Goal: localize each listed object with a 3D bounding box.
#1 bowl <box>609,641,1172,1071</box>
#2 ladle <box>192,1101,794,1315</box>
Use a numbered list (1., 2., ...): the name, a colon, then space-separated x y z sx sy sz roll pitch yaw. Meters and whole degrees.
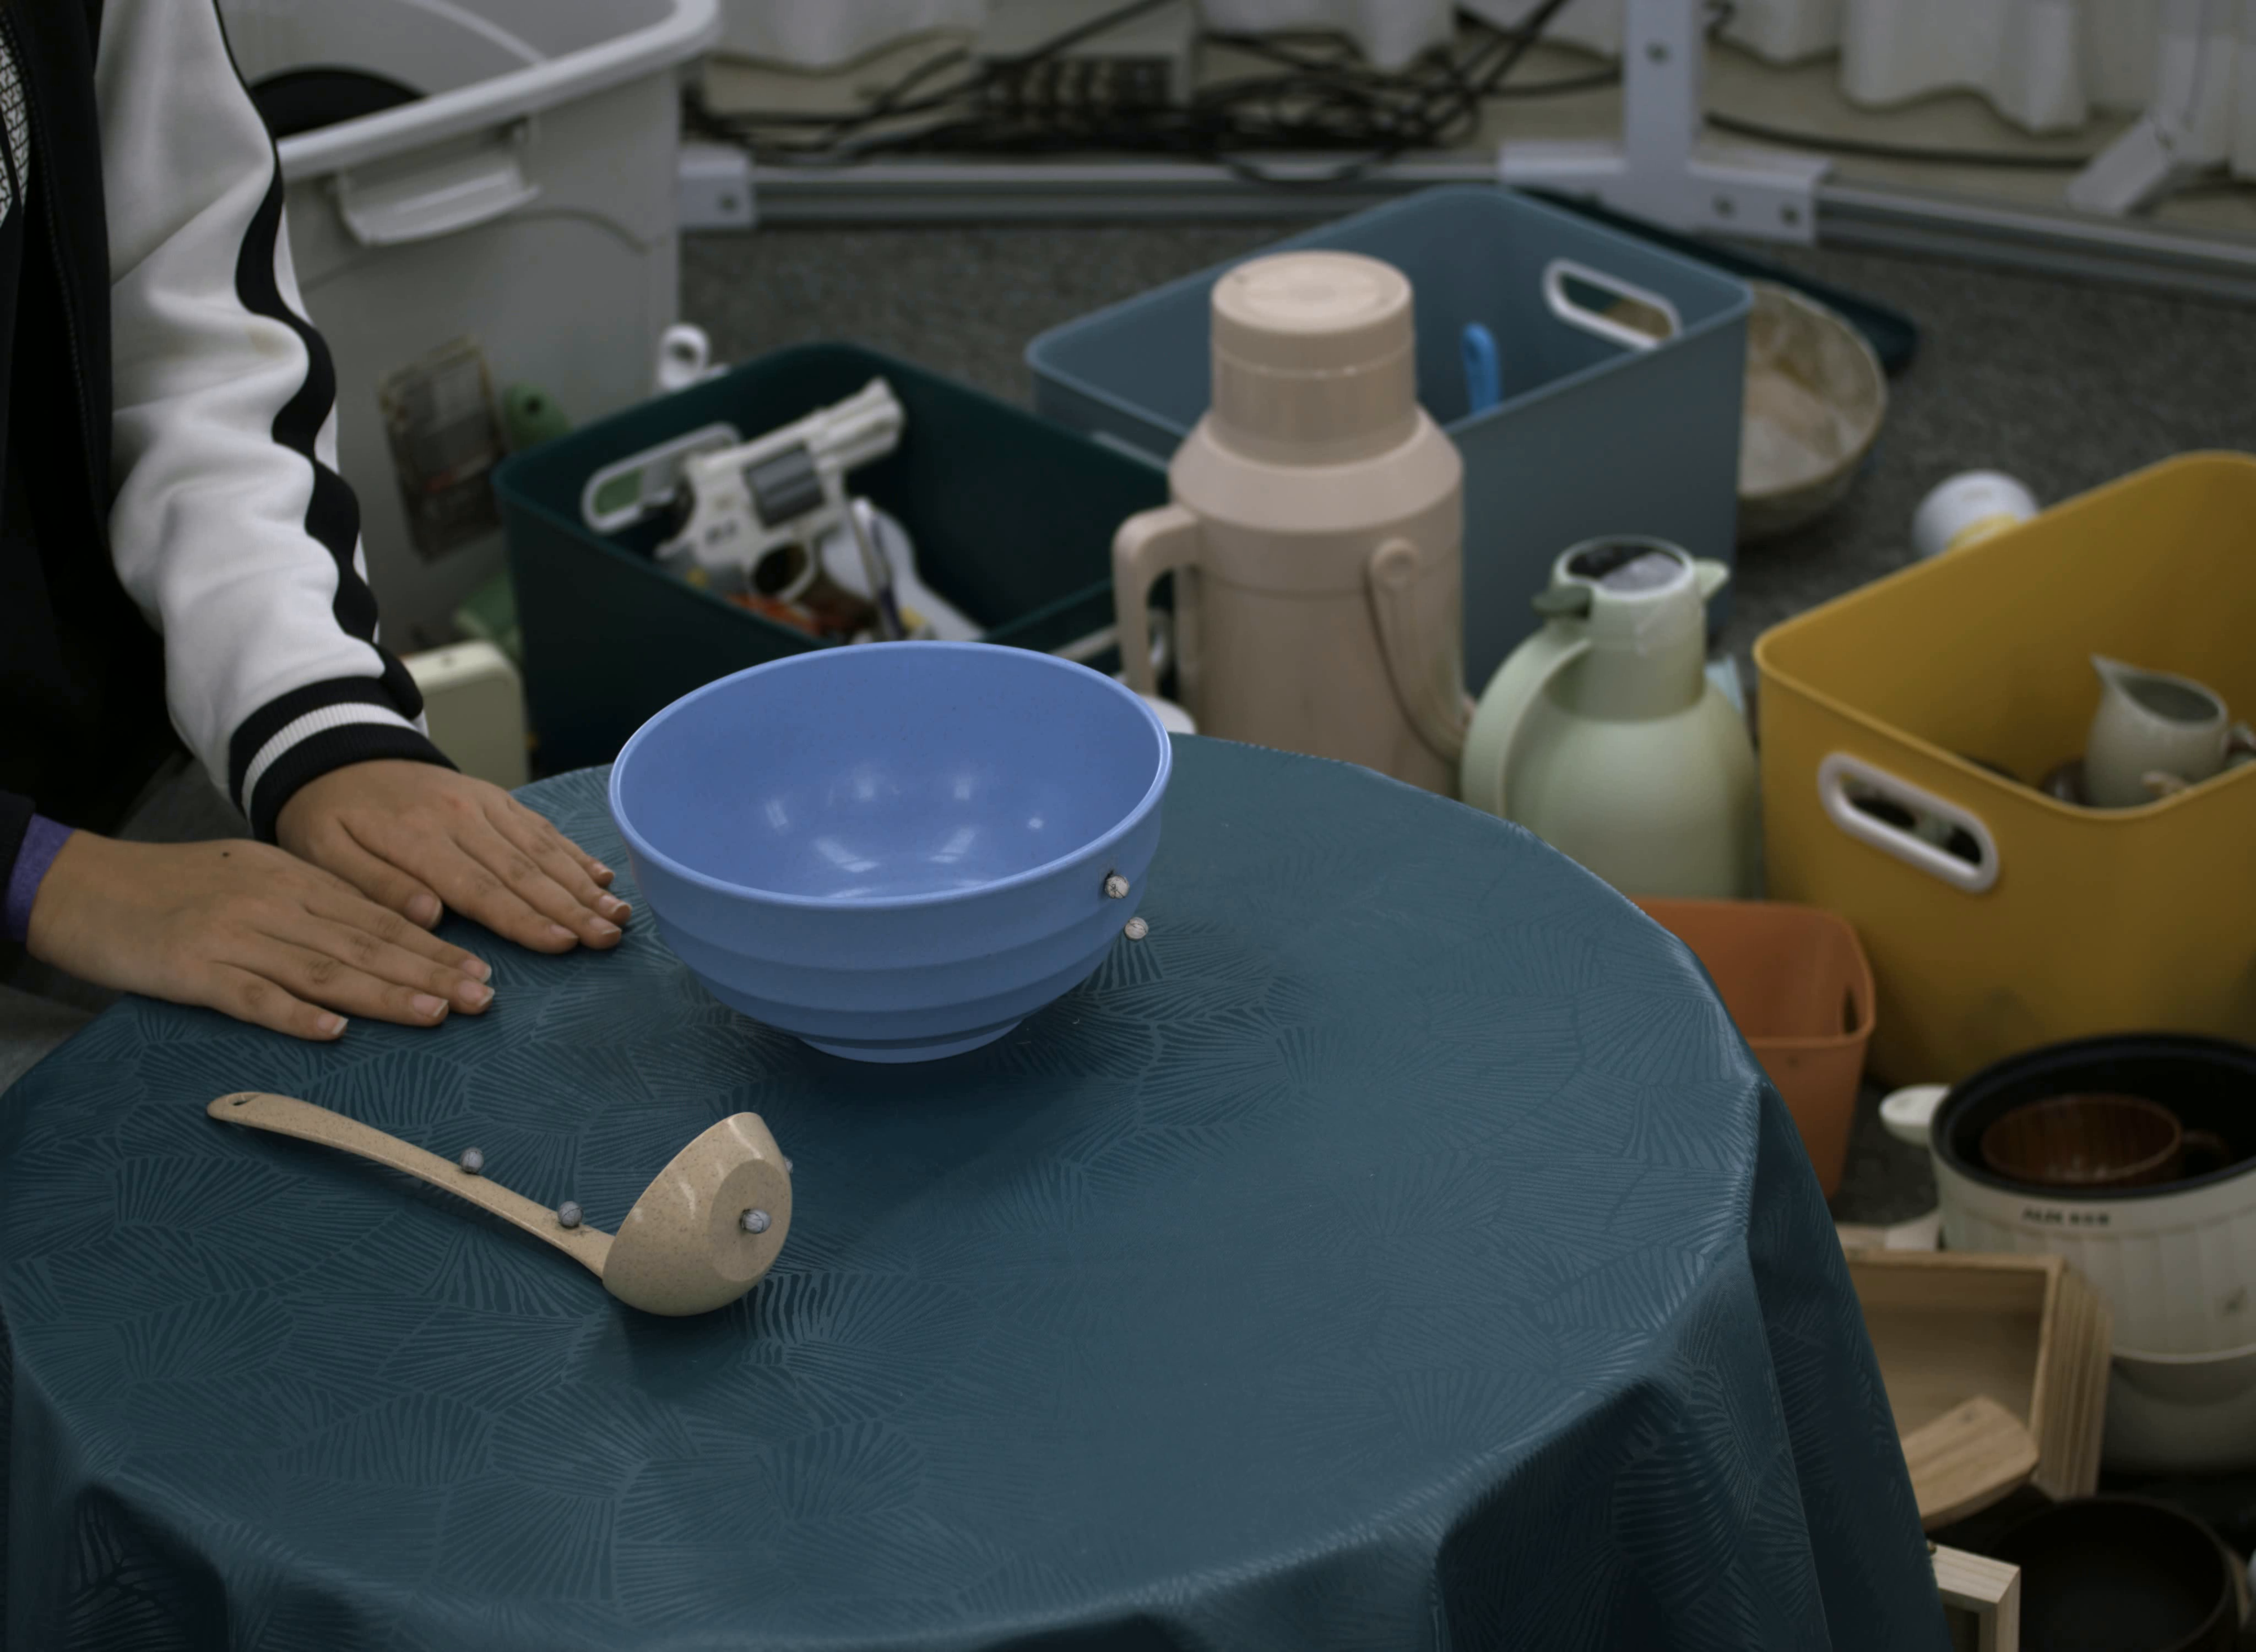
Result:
1. bowl: -0.079 0.022 1.965 0.195 0.094 0.199 -3 28 2
2. ladle: -0.219 0.098 1.849 0.253 0.072 0.073 16 32 33
